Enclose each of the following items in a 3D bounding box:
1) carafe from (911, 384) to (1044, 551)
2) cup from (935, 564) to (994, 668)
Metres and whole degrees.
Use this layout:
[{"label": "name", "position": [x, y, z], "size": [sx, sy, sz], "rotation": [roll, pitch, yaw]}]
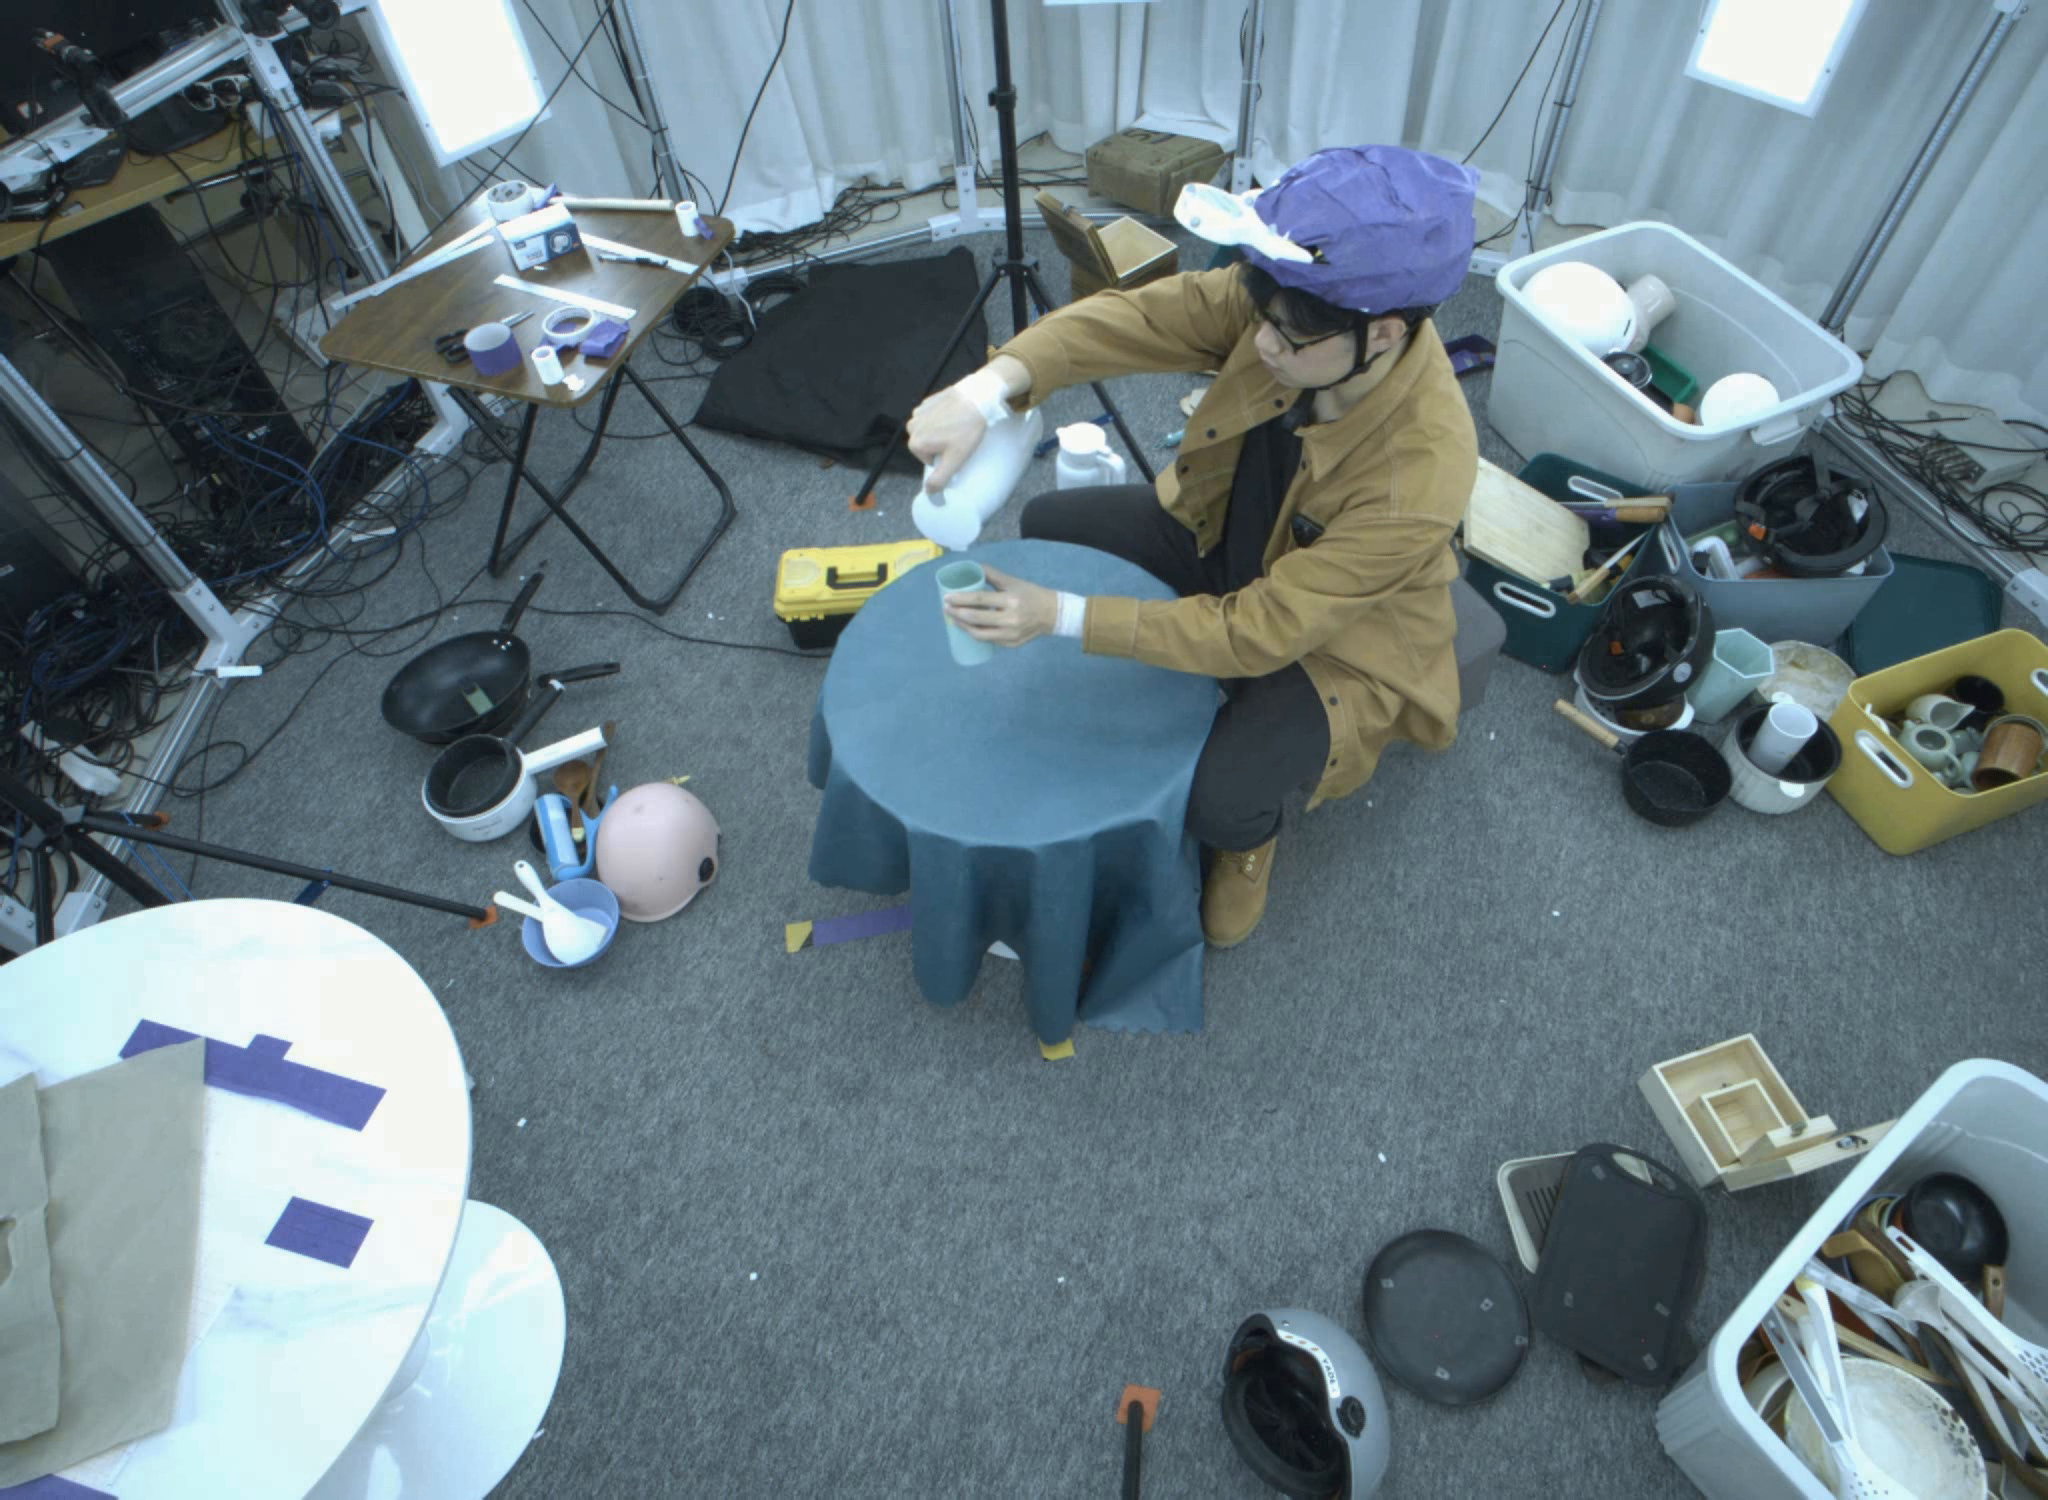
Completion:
[{"label": "carafe", "position": [-0.075, -0.387, 1.596], "size": [0.131, 0.170, 0.248], "rotation": [4, 47, 18]}, {"label": "cup", "position": [-0.078, -0.182, 1.660], "size": [0.066, 0.134, 0.066], "rotation": [-4, 45, 5]}]
